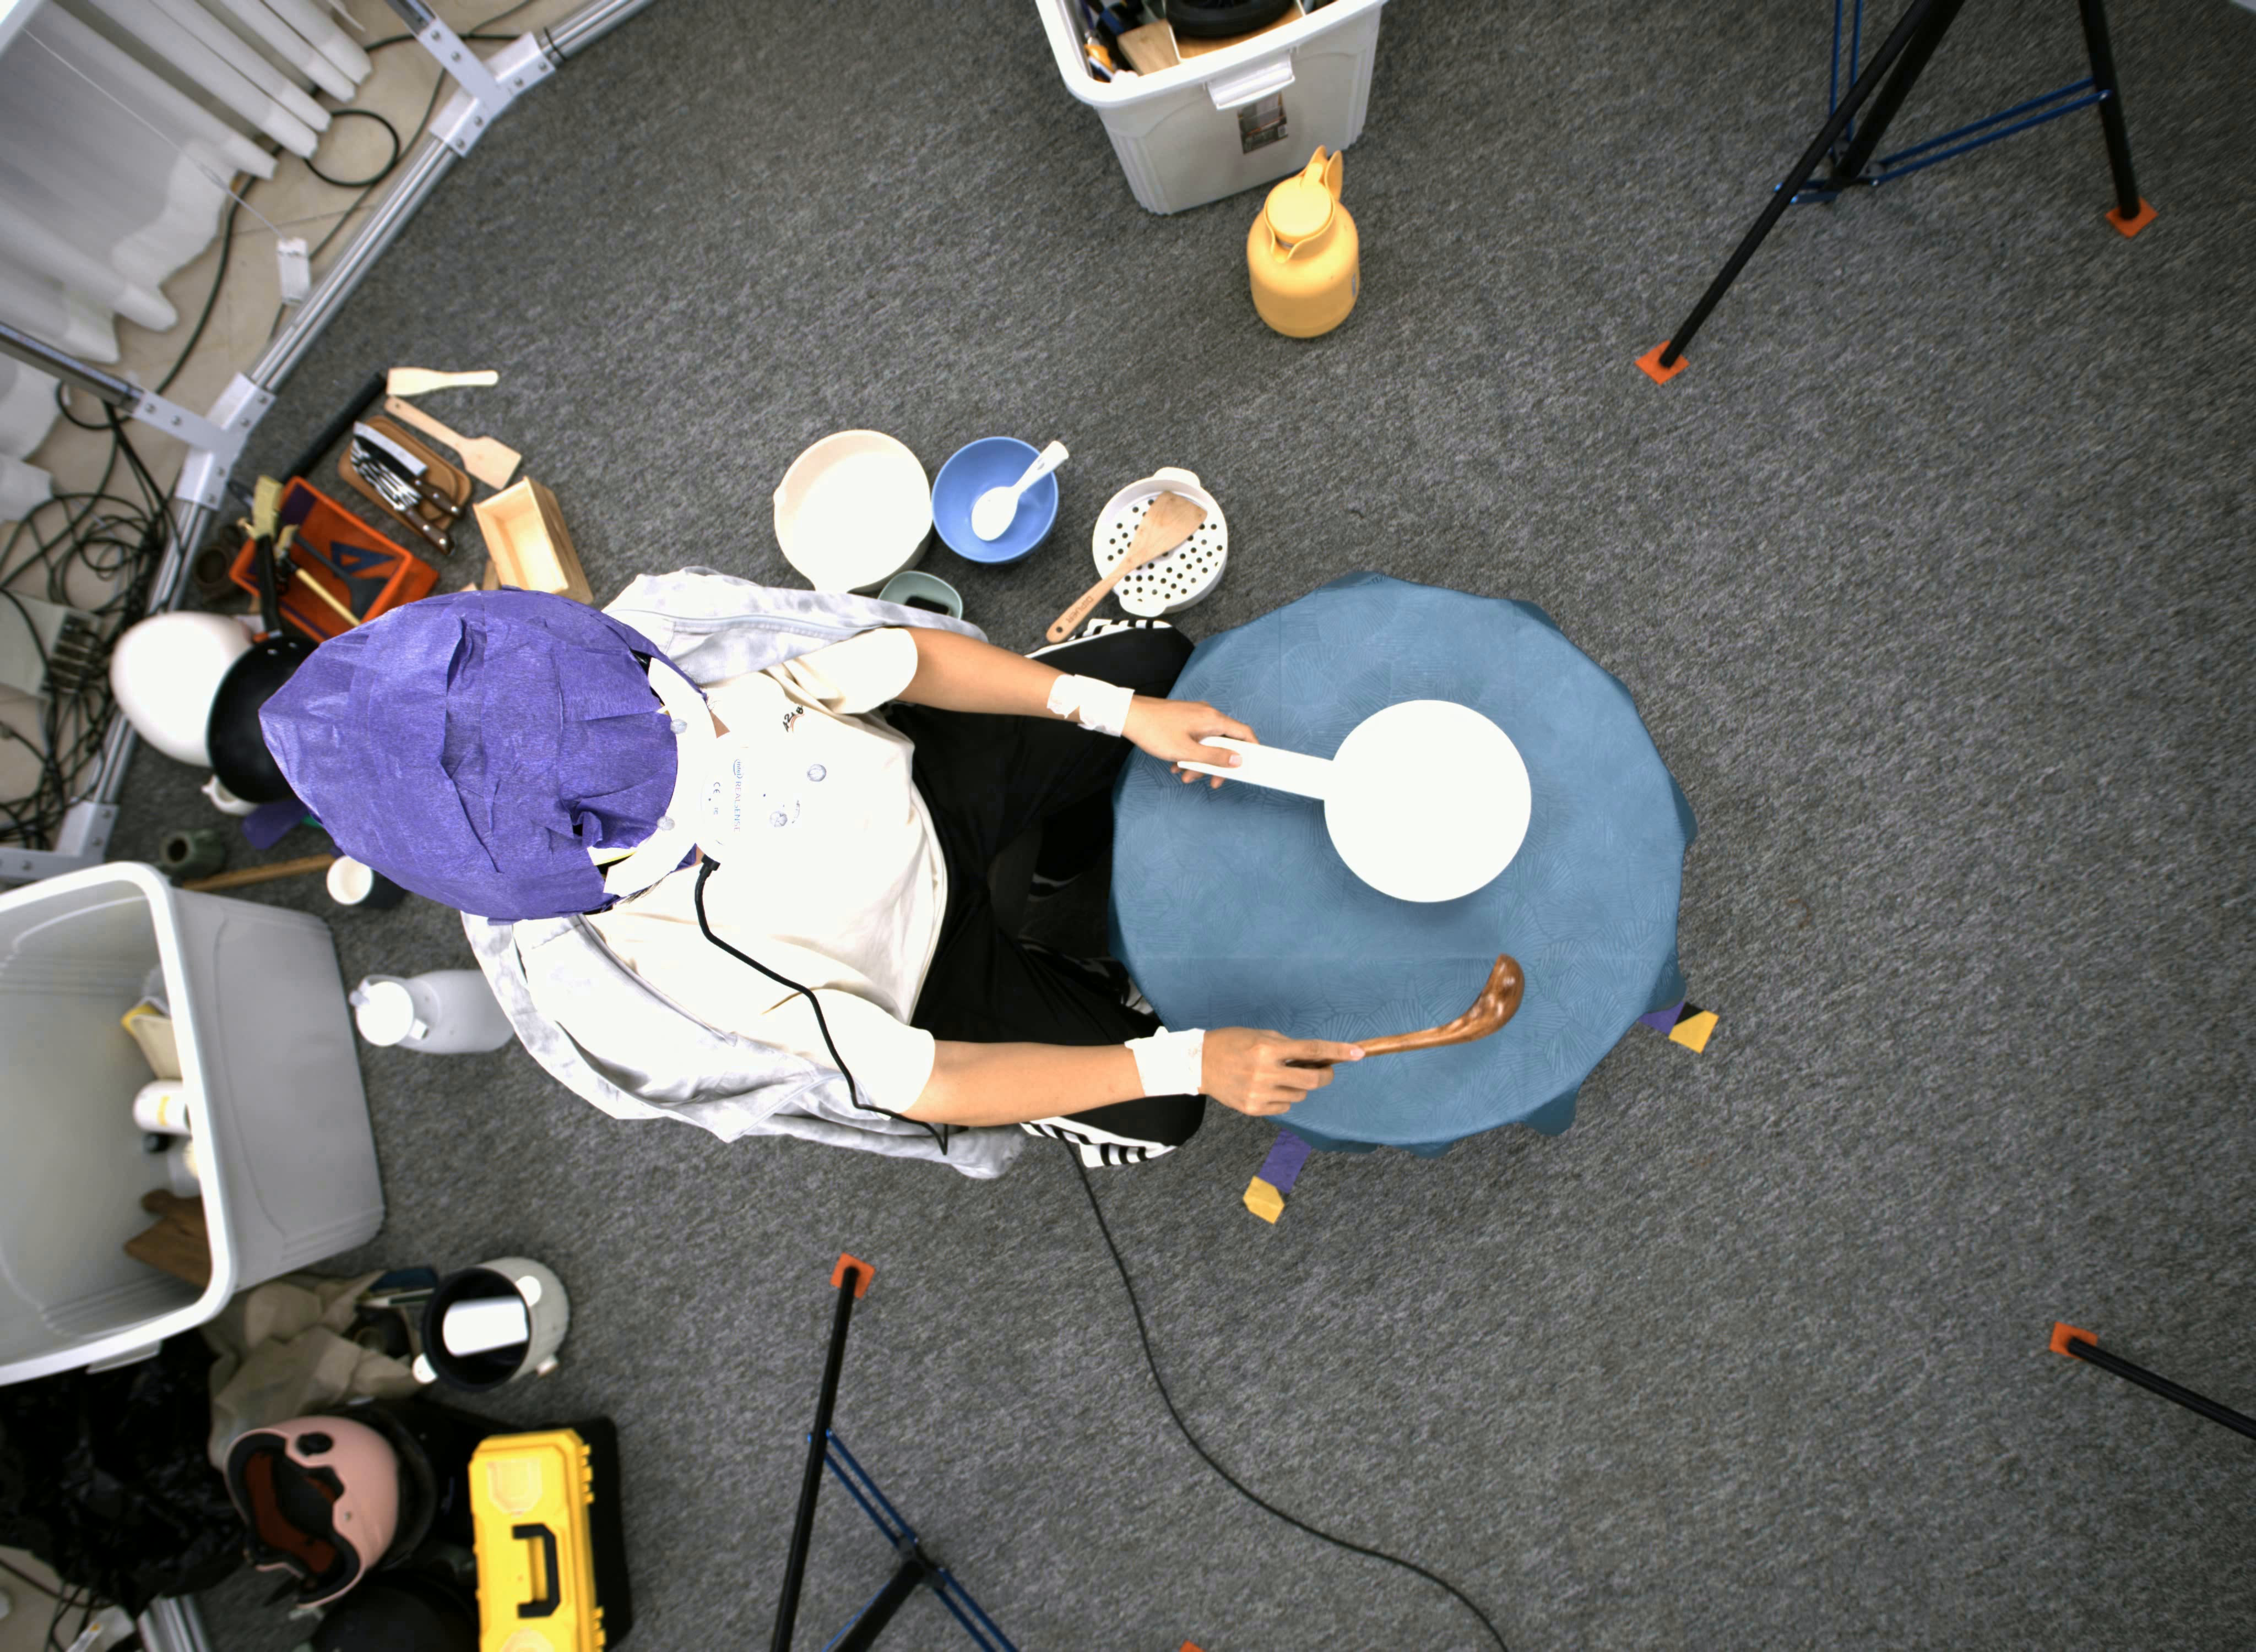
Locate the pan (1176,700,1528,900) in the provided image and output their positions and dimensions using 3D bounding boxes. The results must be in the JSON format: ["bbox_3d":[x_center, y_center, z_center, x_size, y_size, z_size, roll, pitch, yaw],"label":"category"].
[{"bbox_3d":[0.228,-0.041,1.422,0.355,0.102,0.201,14,89,12],"label":"pan"}]

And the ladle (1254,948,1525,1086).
[{"bbox_3d":[0.249,0.180,1.324,0.275,0.083,0.075,-14,51,7],"label":"ladle"}]
